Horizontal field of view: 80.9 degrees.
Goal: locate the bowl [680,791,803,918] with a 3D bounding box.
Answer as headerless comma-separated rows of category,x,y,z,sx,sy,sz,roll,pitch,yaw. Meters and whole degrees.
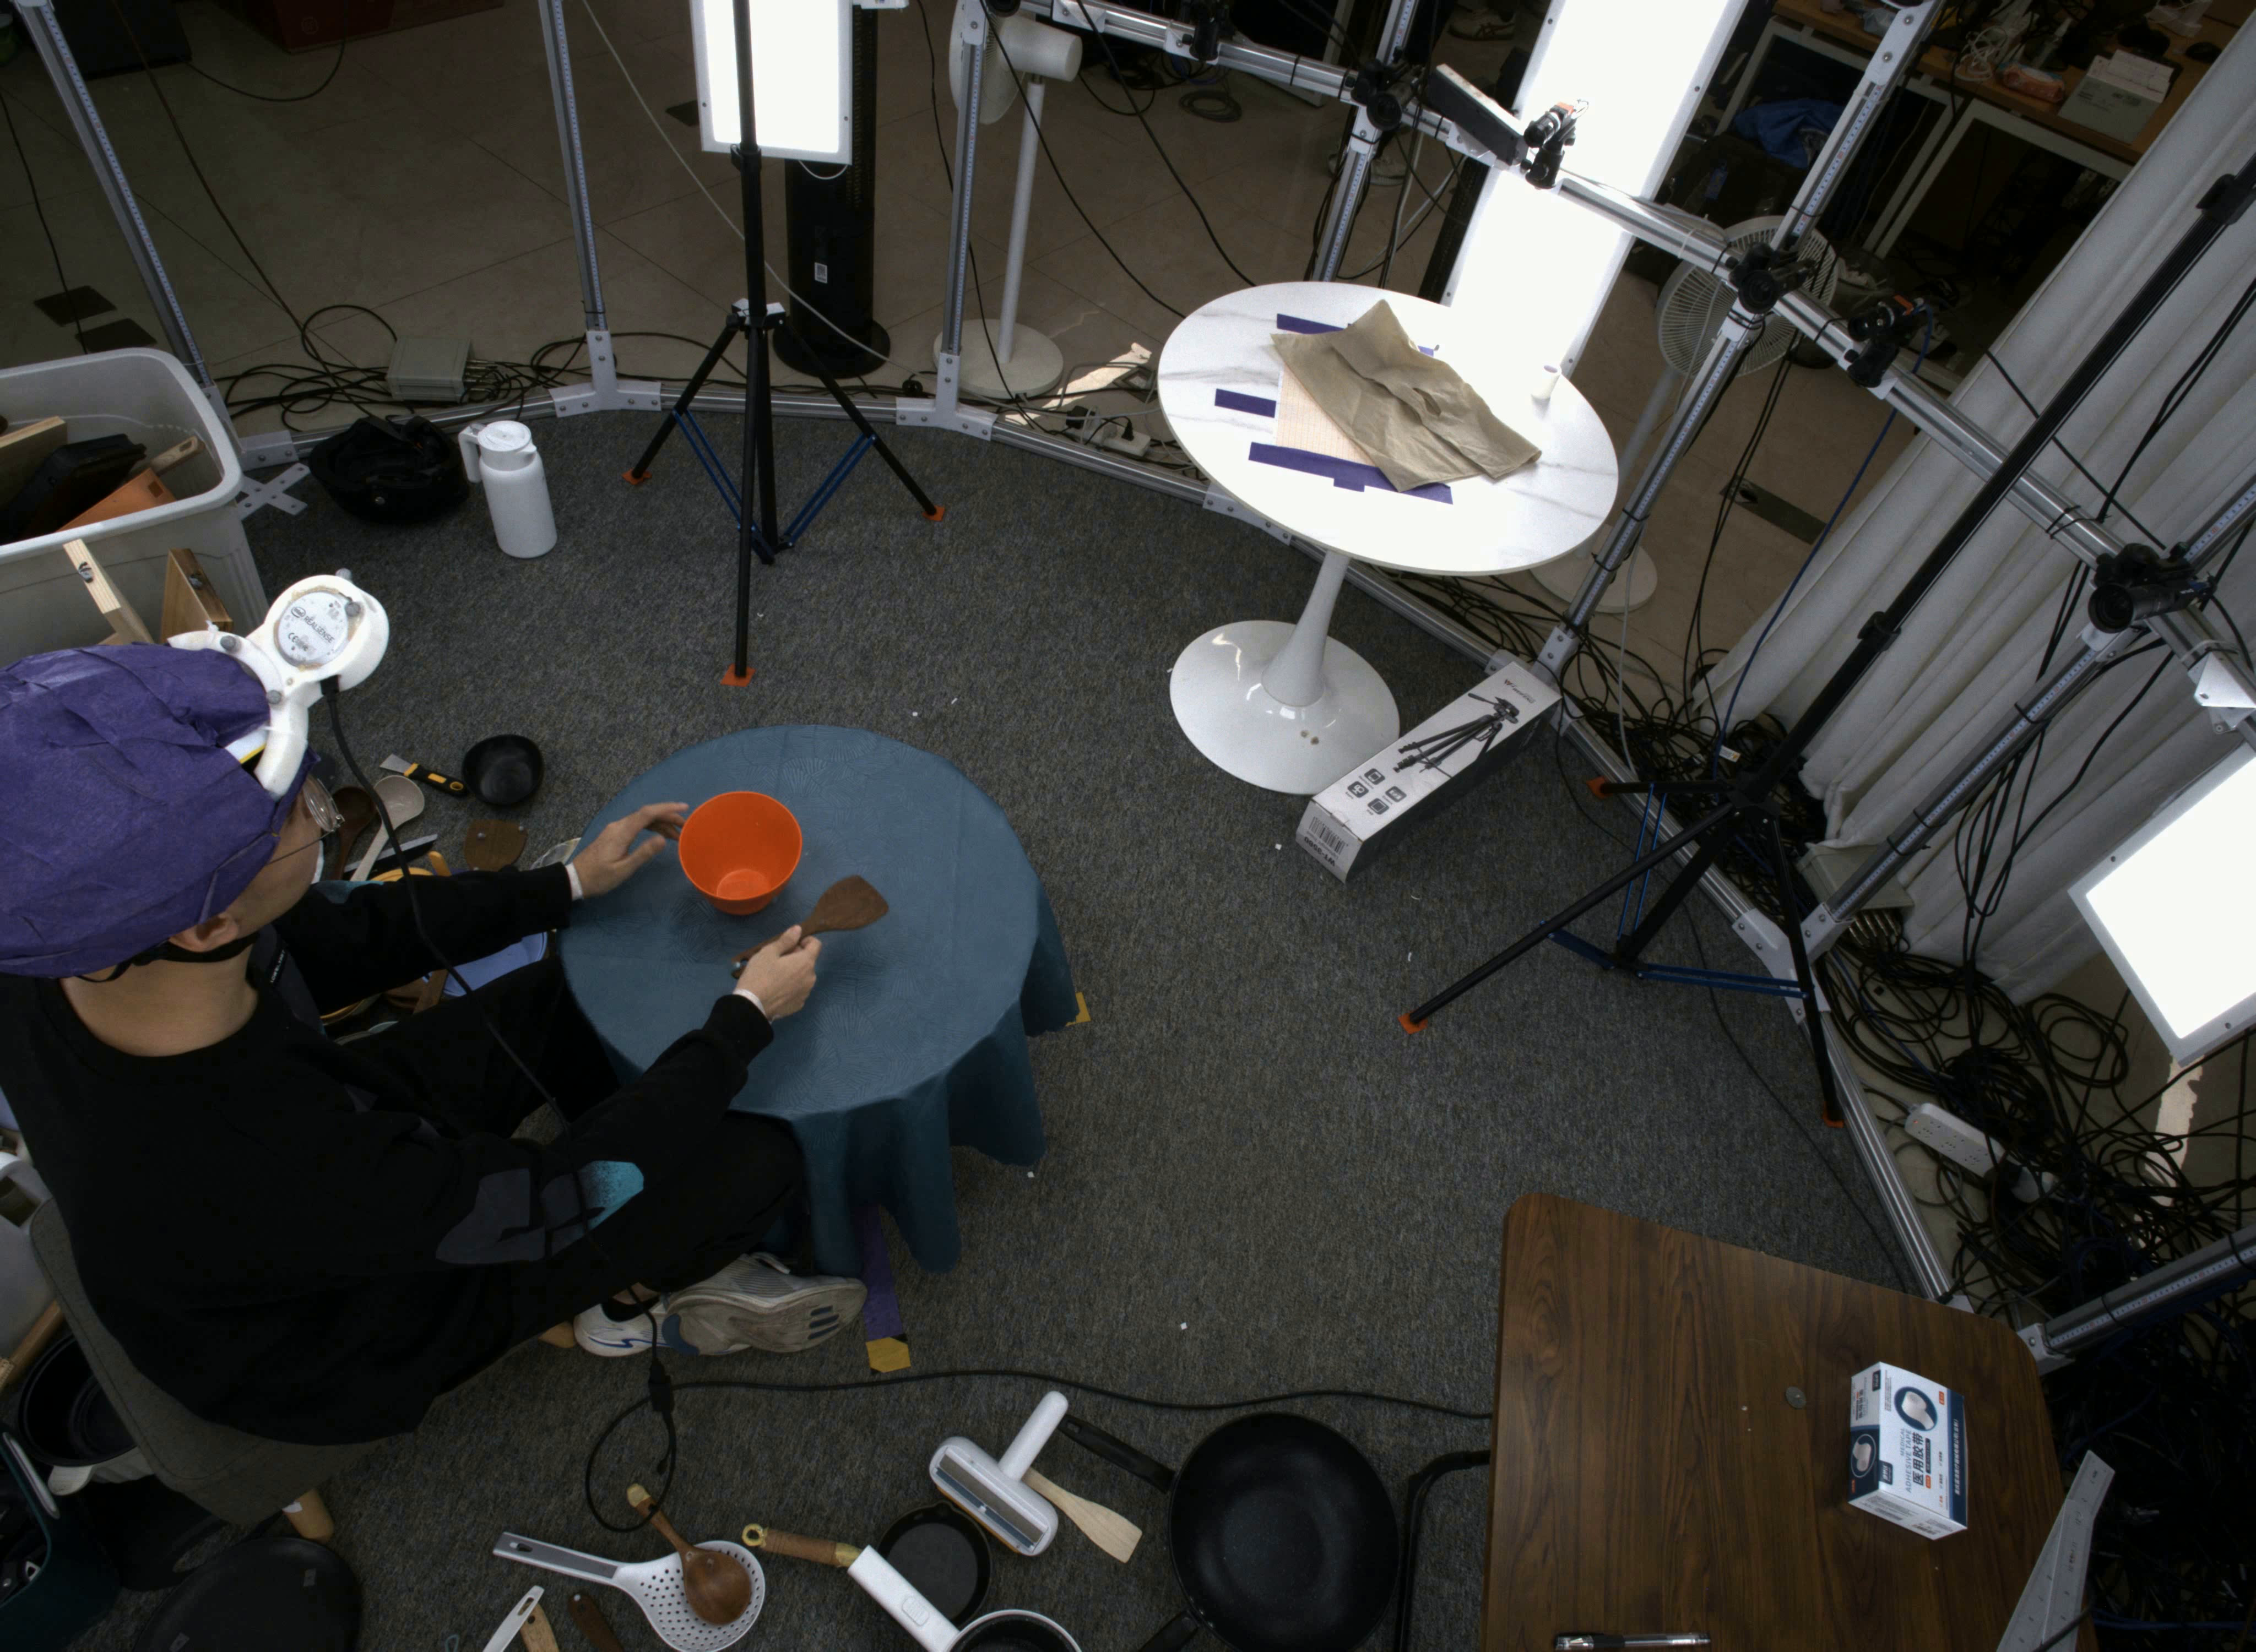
bowl,-0.480,0.047,1.616,0.148,0.107,0.145,7,54,-8

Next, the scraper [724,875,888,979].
scraper,-0.386,0.123,1.541,0.212,0.011,0.074,-30,67,-38
